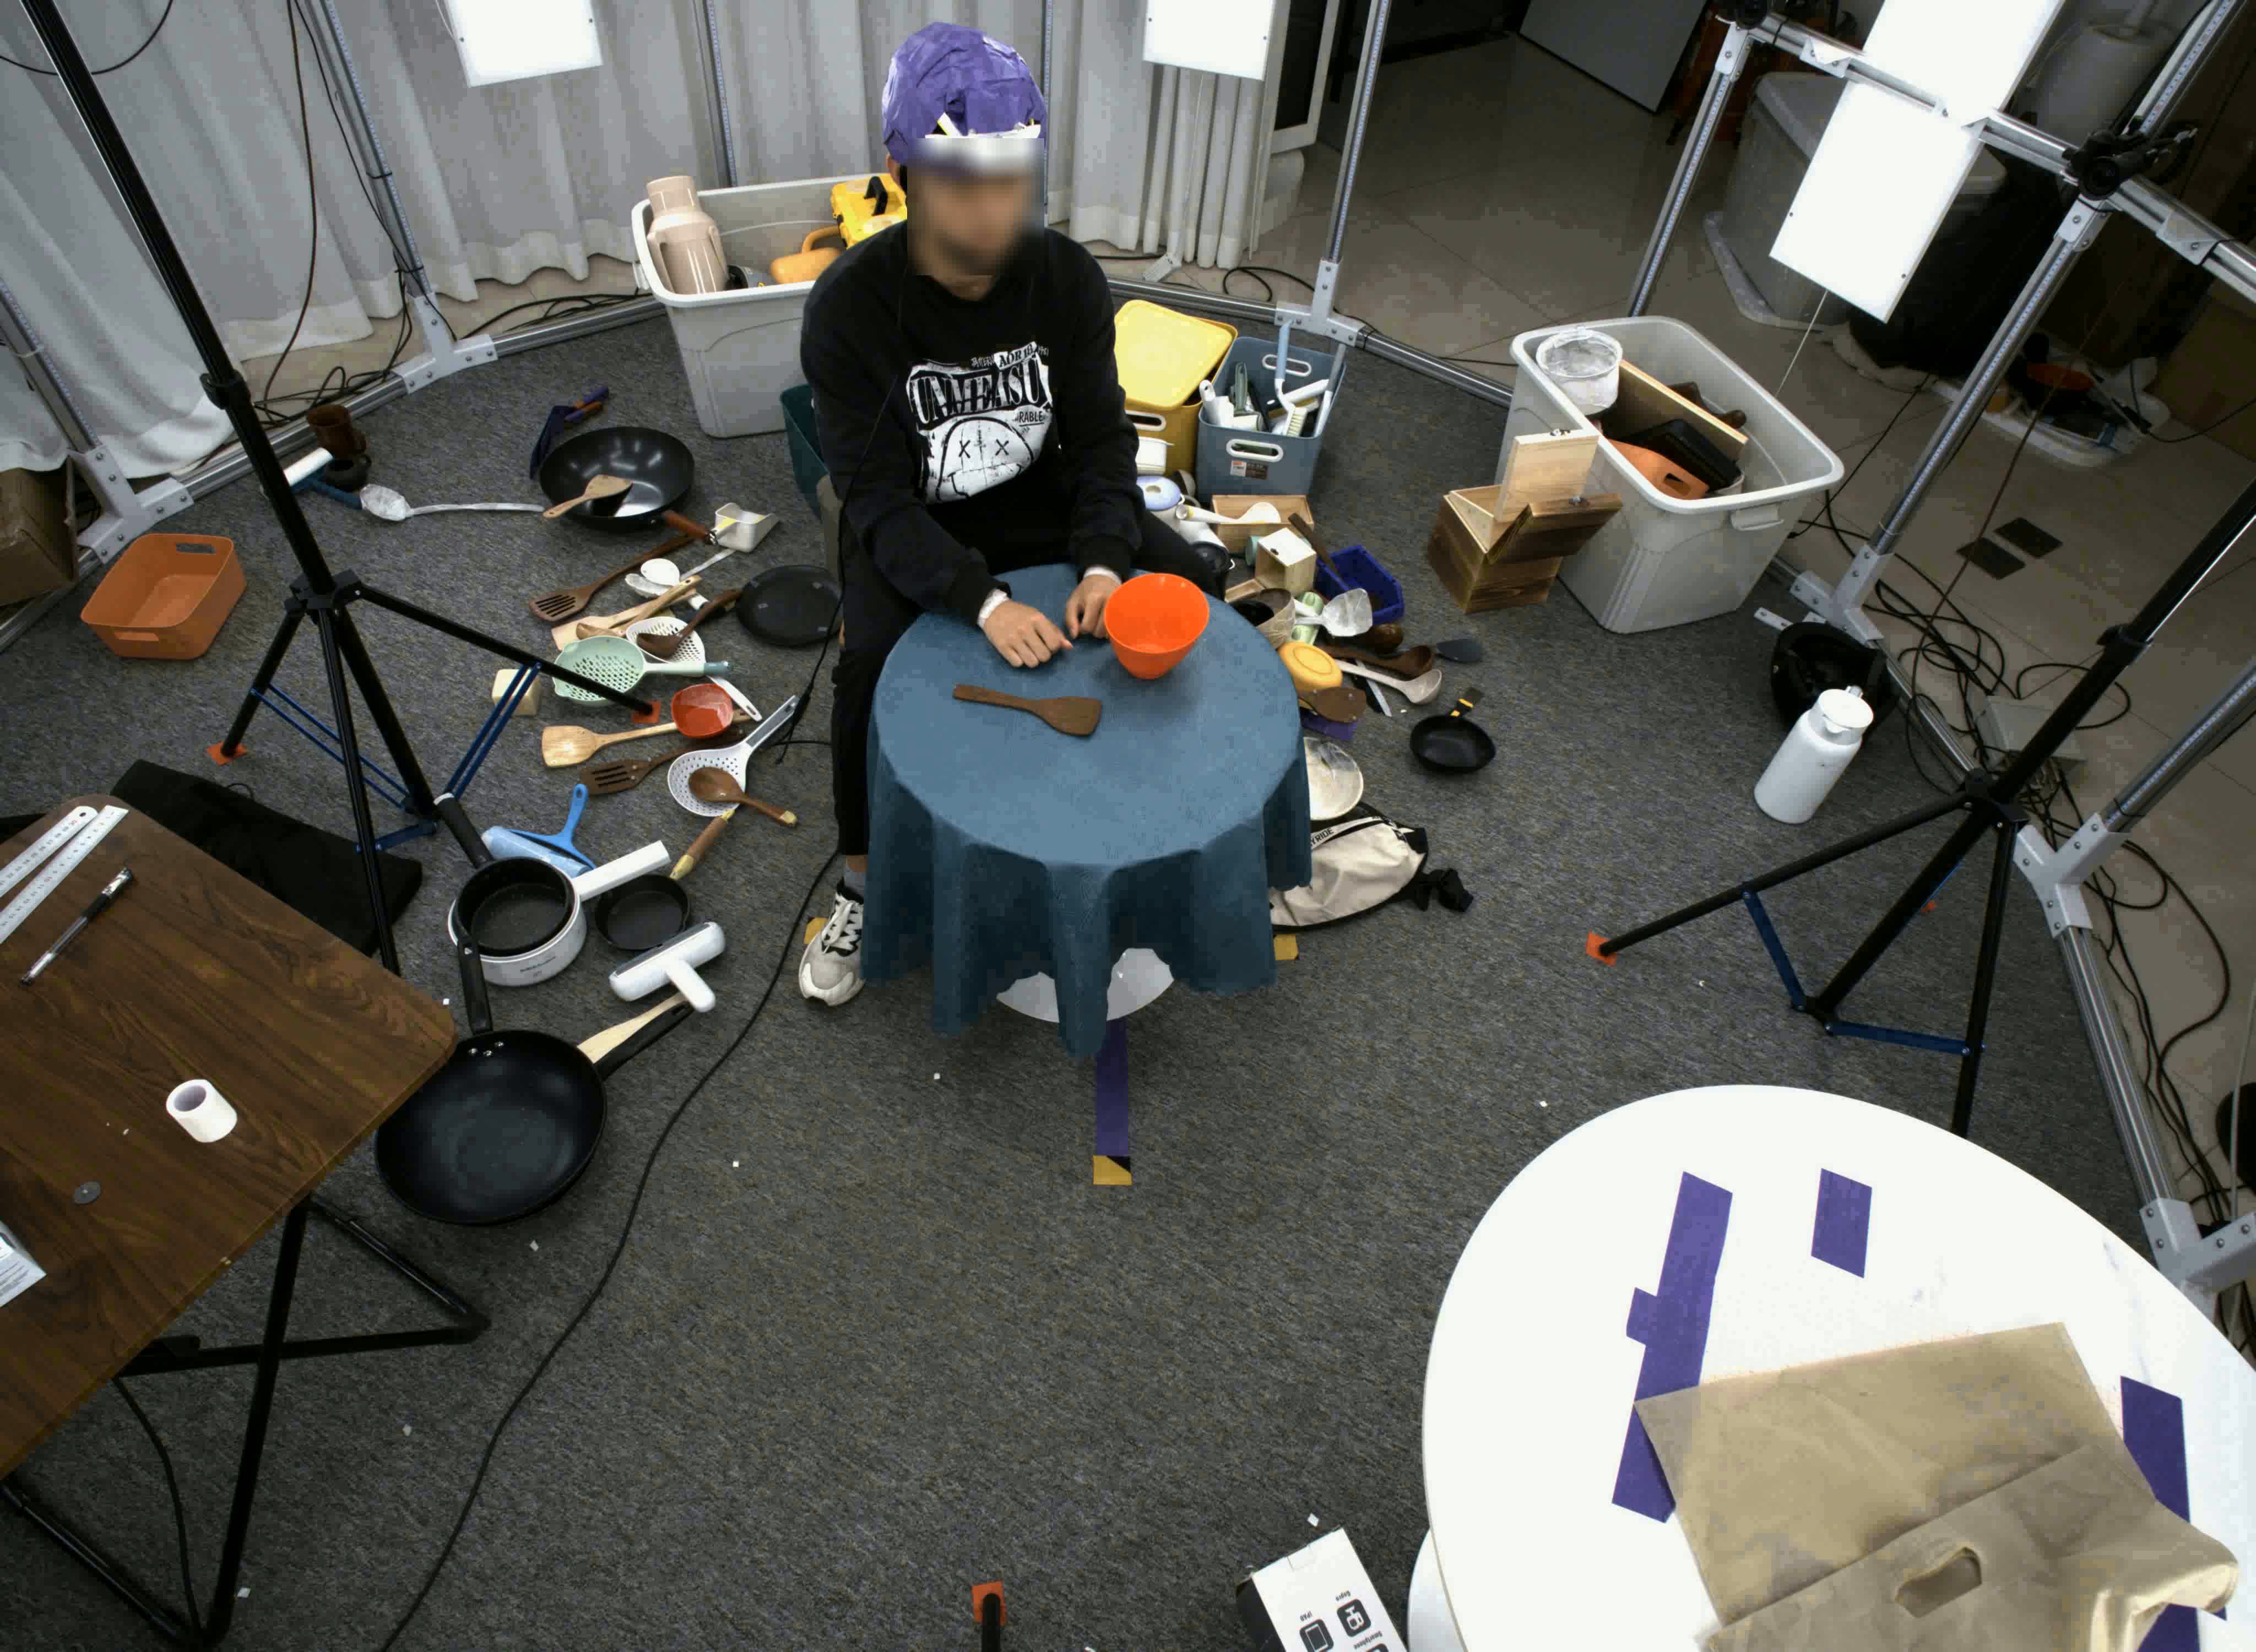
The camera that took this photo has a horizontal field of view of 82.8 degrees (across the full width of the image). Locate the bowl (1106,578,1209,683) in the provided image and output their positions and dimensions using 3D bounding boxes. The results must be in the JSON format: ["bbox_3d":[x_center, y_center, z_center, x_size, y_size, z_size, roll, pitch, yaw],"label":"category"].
[{"bbox_3d":[0.039,-0.273,1.861,0.148,0.102,0.152,2,49,-3],"label":"bowl"}]

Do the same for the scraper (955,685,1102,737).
[{"bbox_3d":[-0.142,-0.170,1.818,0.212,0.010,0.077,12,48,8],"label":"scraper"}]
